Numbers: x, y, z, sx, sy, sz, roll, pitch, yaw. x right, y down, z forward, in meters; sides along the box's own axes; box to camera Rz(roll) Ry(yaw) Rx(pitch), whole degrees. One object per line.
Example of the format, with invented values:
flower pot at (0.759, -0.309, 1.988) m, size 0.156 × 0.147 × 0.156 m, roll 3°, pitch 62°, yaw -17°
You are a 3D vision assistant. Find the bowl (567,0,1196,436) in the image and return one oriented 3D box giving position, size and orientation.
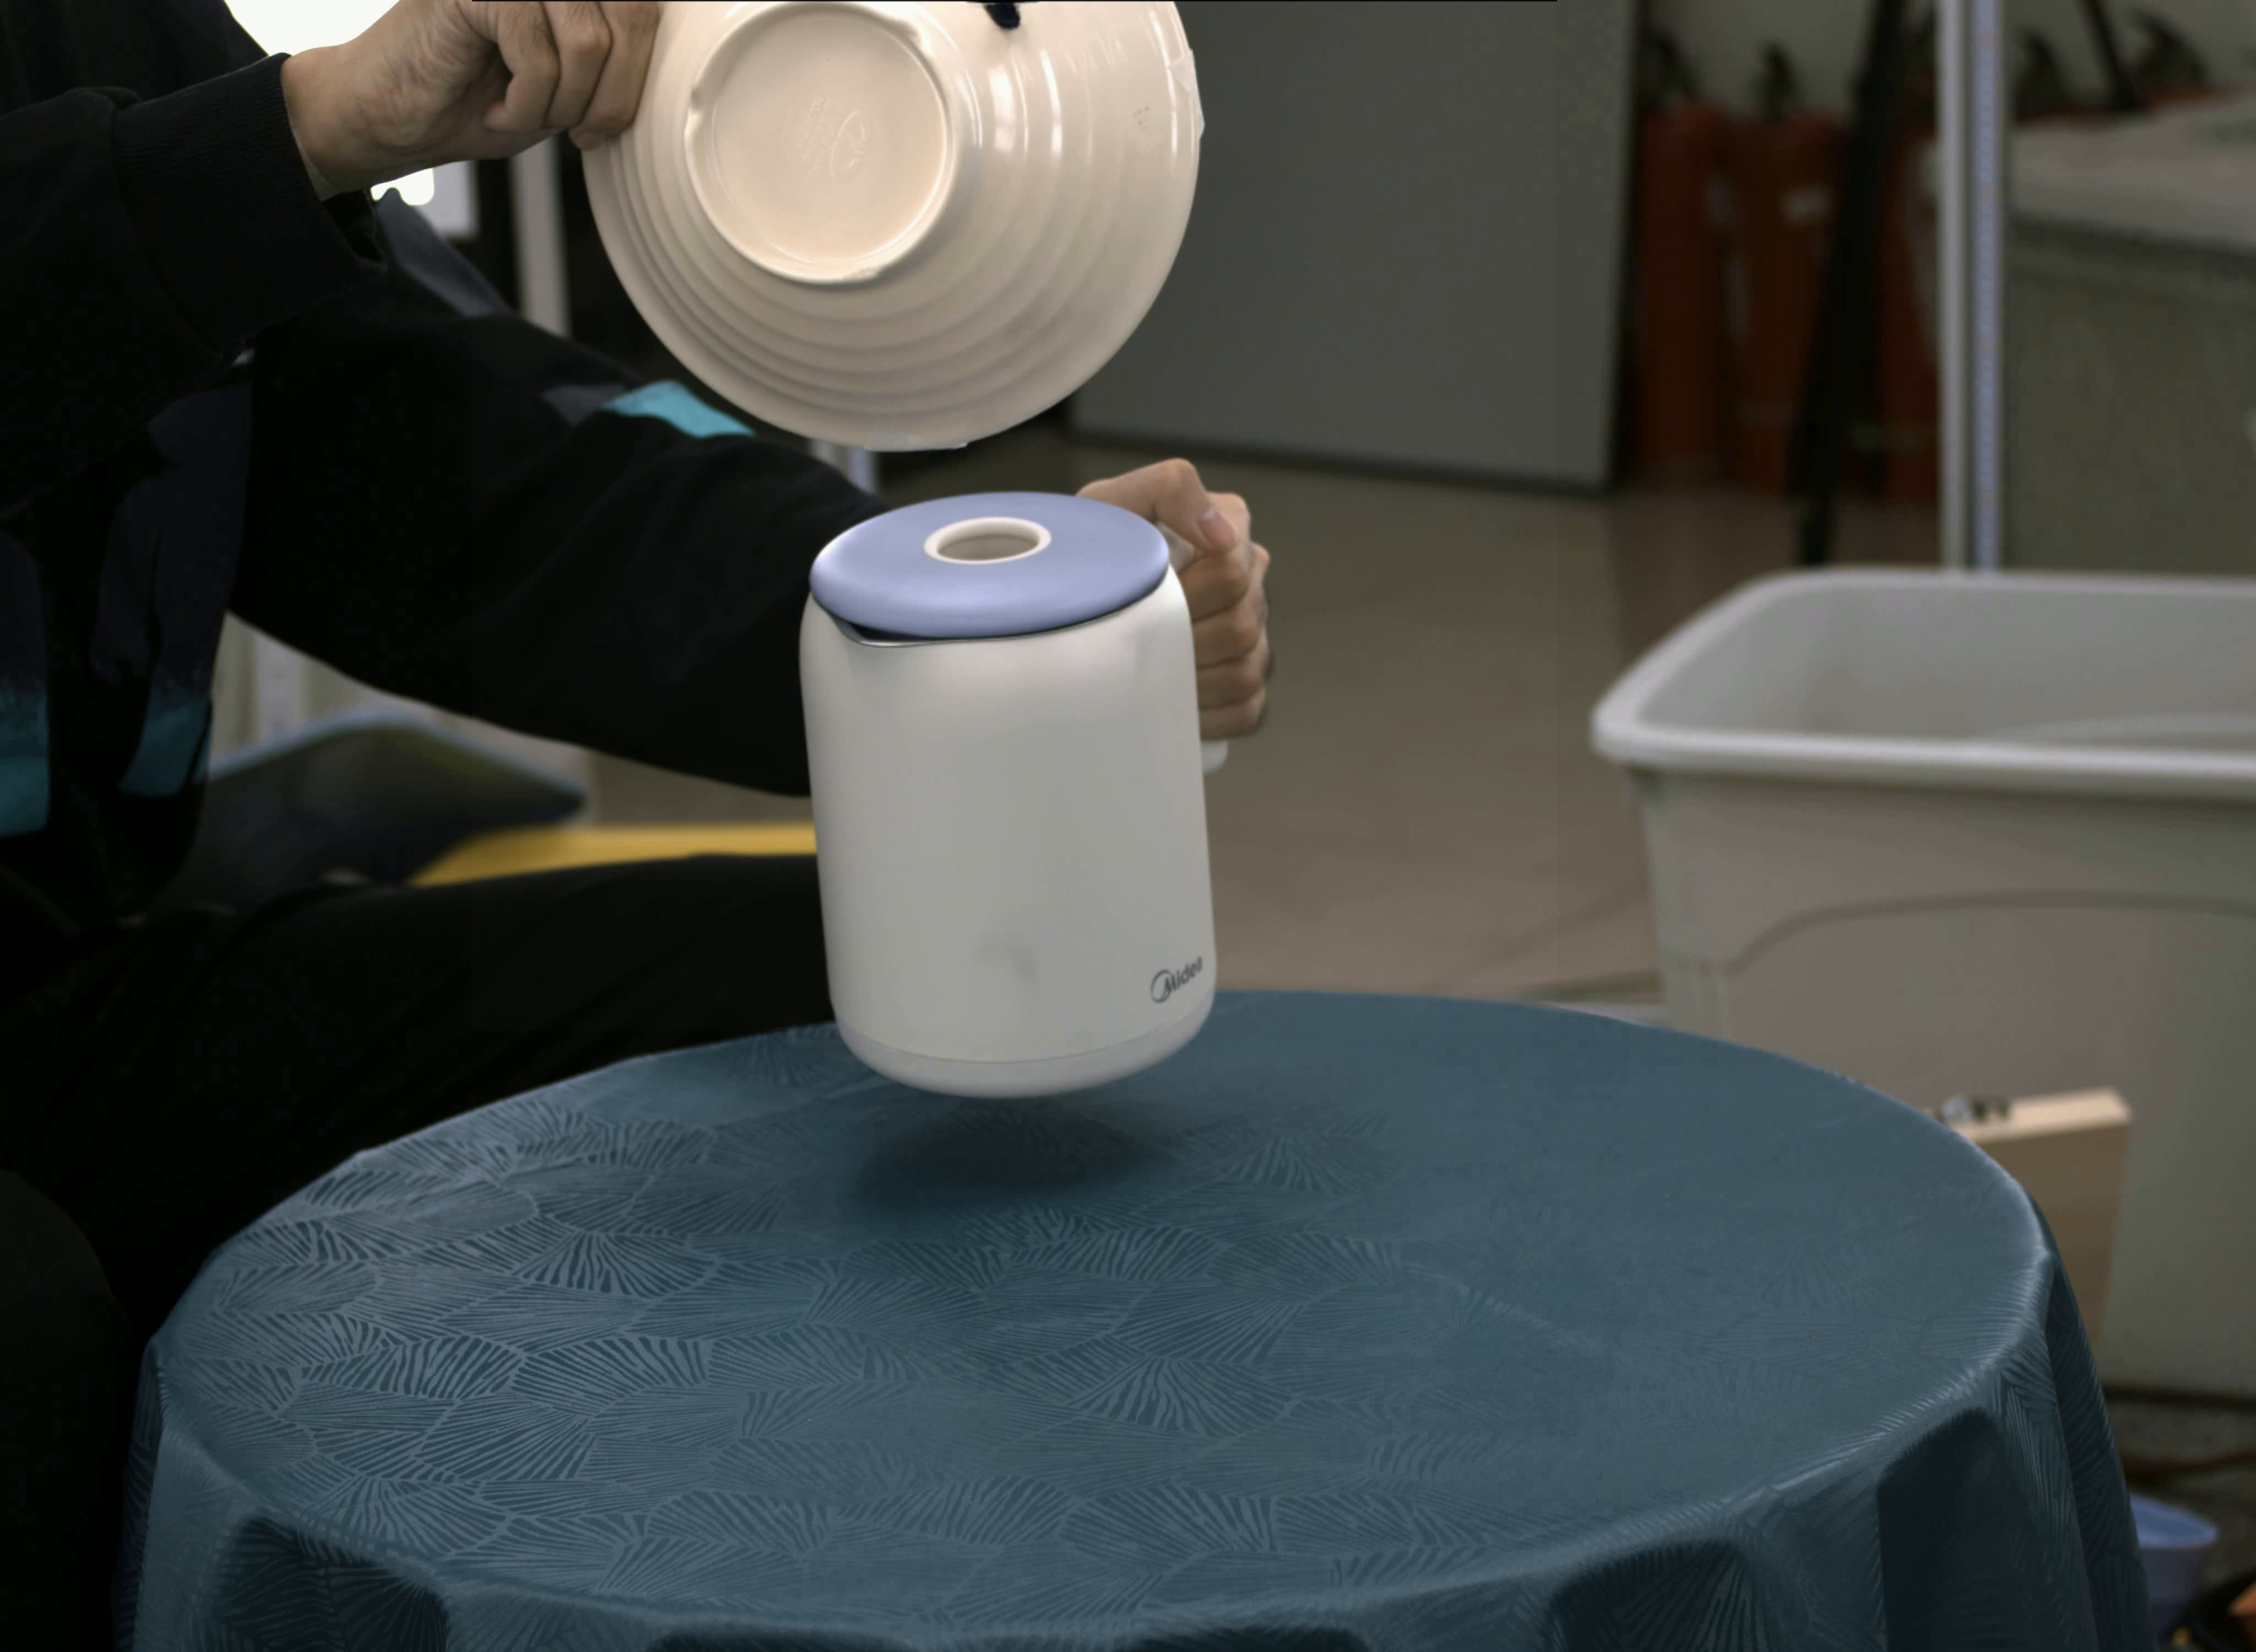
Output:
bowl at (-0.083, -0.220, 1.654) m, size 0.202 × 0.206 × 0.077 m, roll -1°, pitch 7°, yaw 12°

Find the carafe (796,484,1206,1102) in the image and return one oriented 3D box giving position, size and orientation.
carafe at (-0.028, -0.020, 1.805) m, size 0.133 × 0.184 × 0.188 m, roll 12°, pitch 25°, yaw 32°
